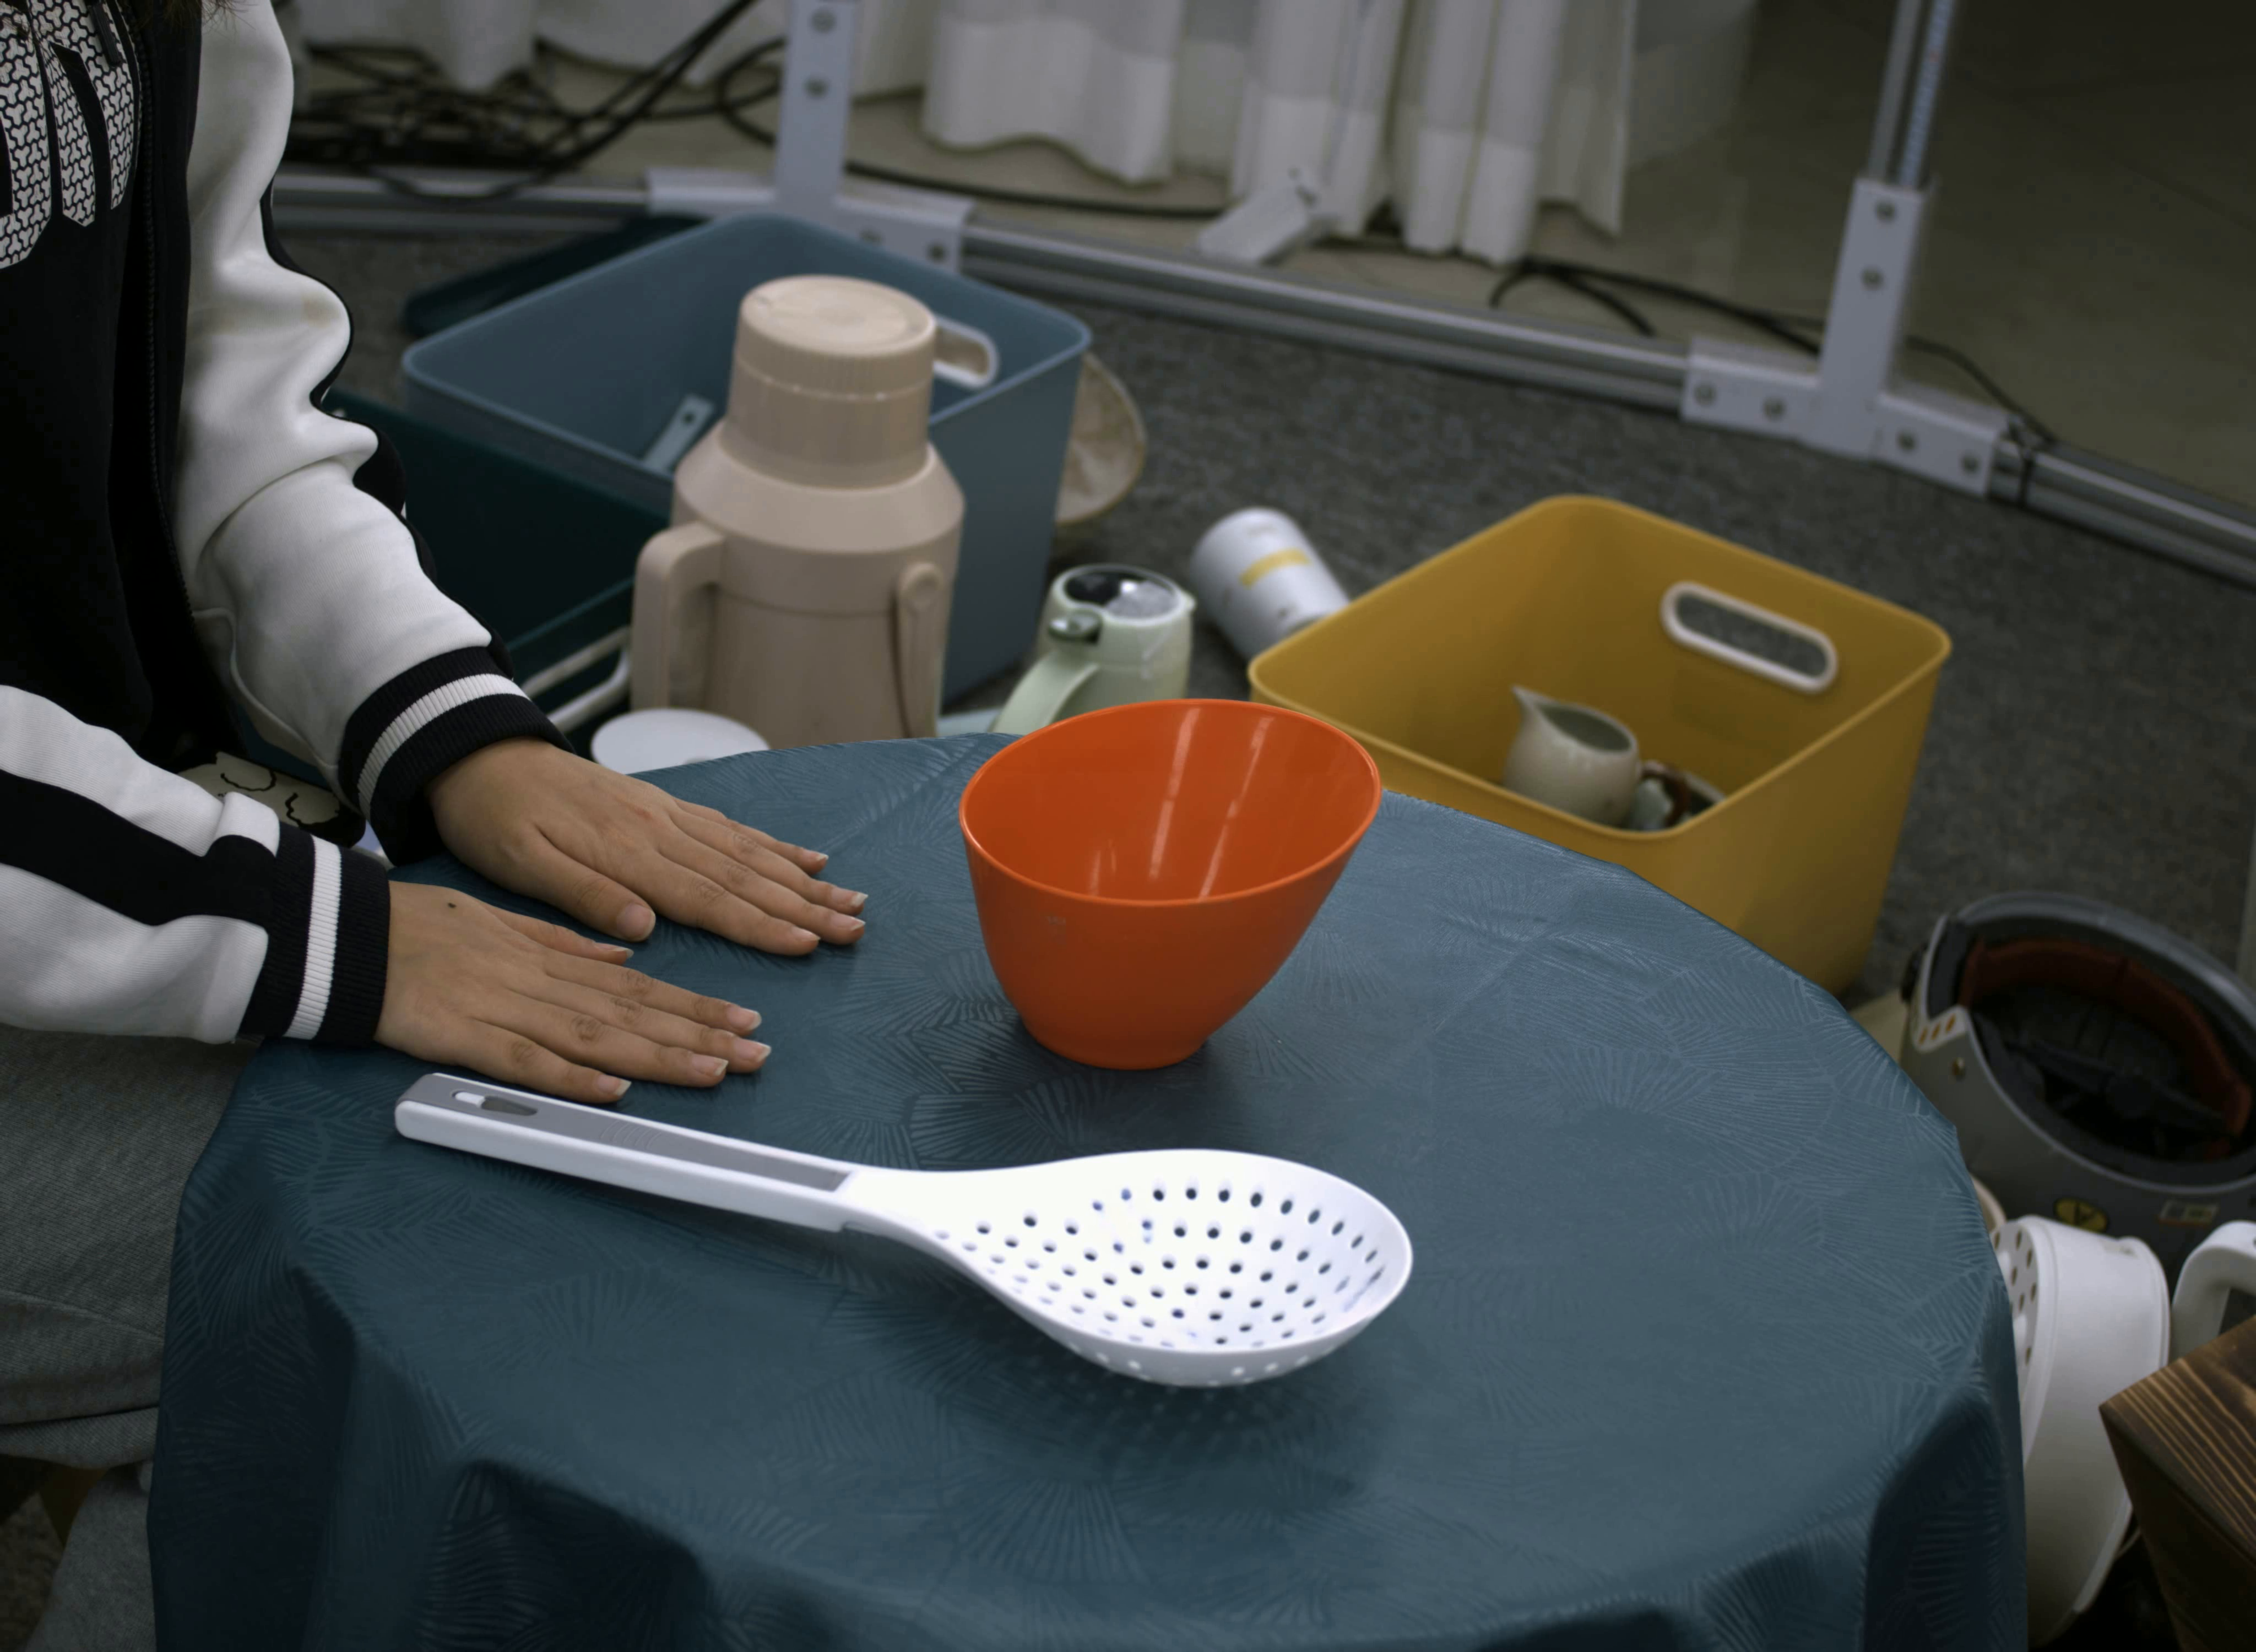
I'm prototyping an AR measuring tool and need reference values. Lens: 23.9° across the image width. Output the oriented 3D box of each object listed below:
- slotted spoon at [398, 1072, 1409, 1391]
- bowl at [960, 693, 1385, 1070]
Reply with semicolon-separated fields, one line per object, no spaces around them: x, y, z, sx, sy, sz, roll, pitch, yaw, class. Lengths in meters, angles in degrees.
-0.079;0.124;1.735;0.350;0.045;0.136;15;26;17;slotted spoon
0.011;0.026;1.883;0.147;0.104;0.149;5;30;-3;bowl
